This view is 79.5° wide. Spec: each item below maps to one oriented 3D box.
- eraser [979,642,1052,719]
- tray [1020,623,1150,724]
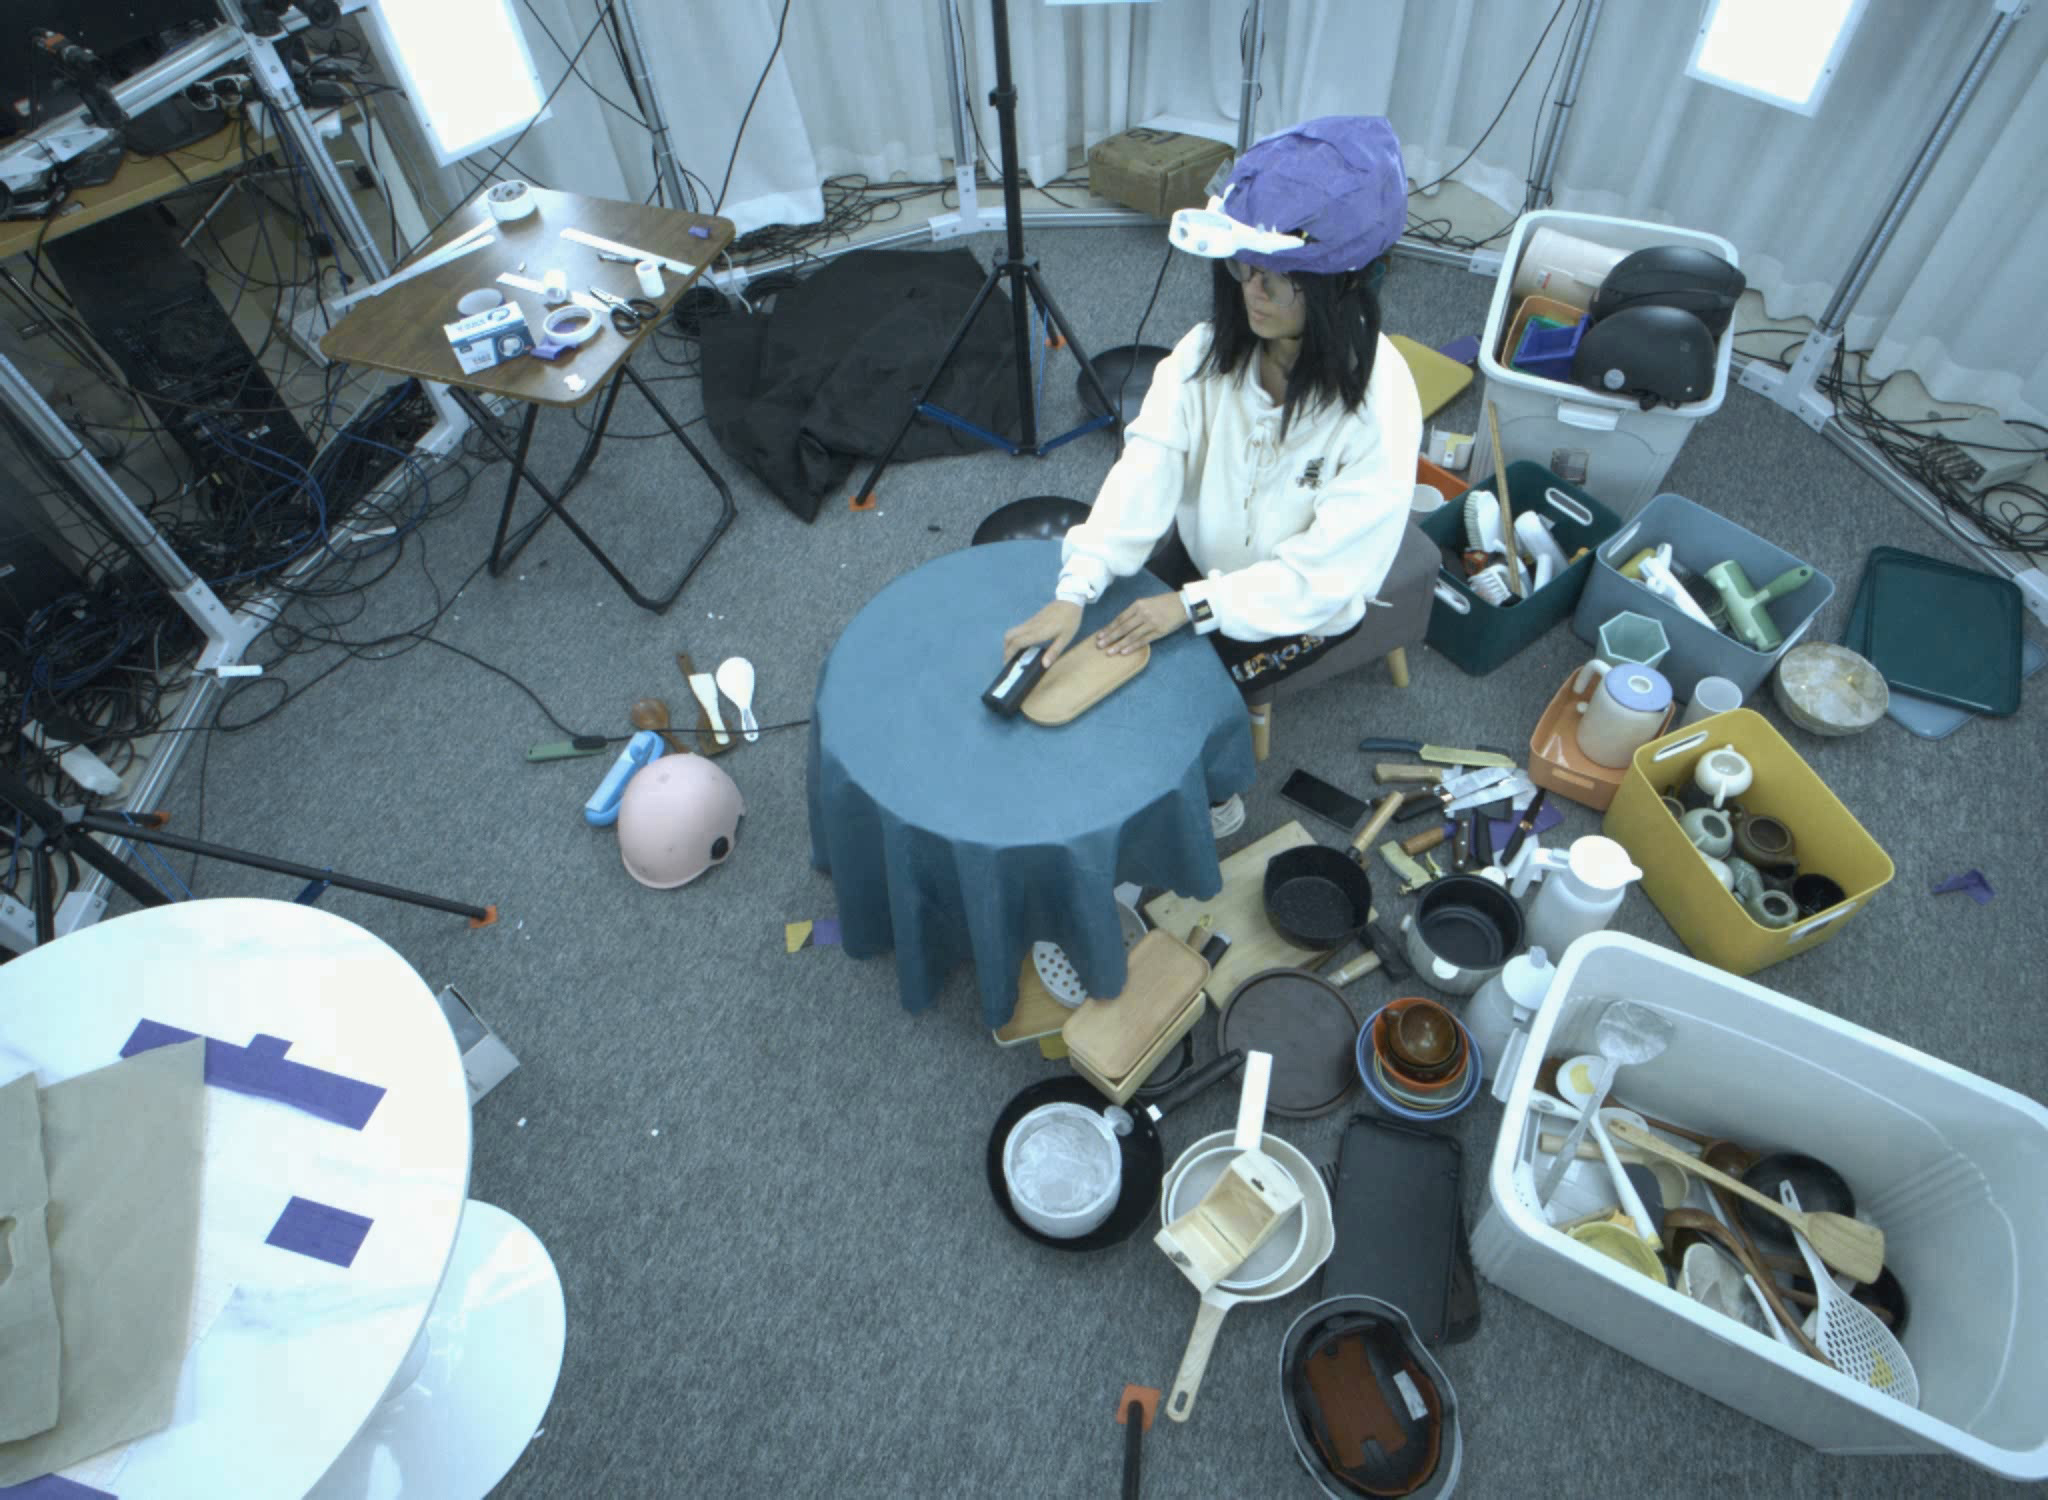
[{"bbox_3d":[-0.011,-0.104,1.828,0.052,0.031,0.126,24,60,22],"label":"eraser"},{"bbox_3d":[0.093,-0.116,1.857,0.233,0.020,0.100,-36,61,-23],"label":"tray"}]
